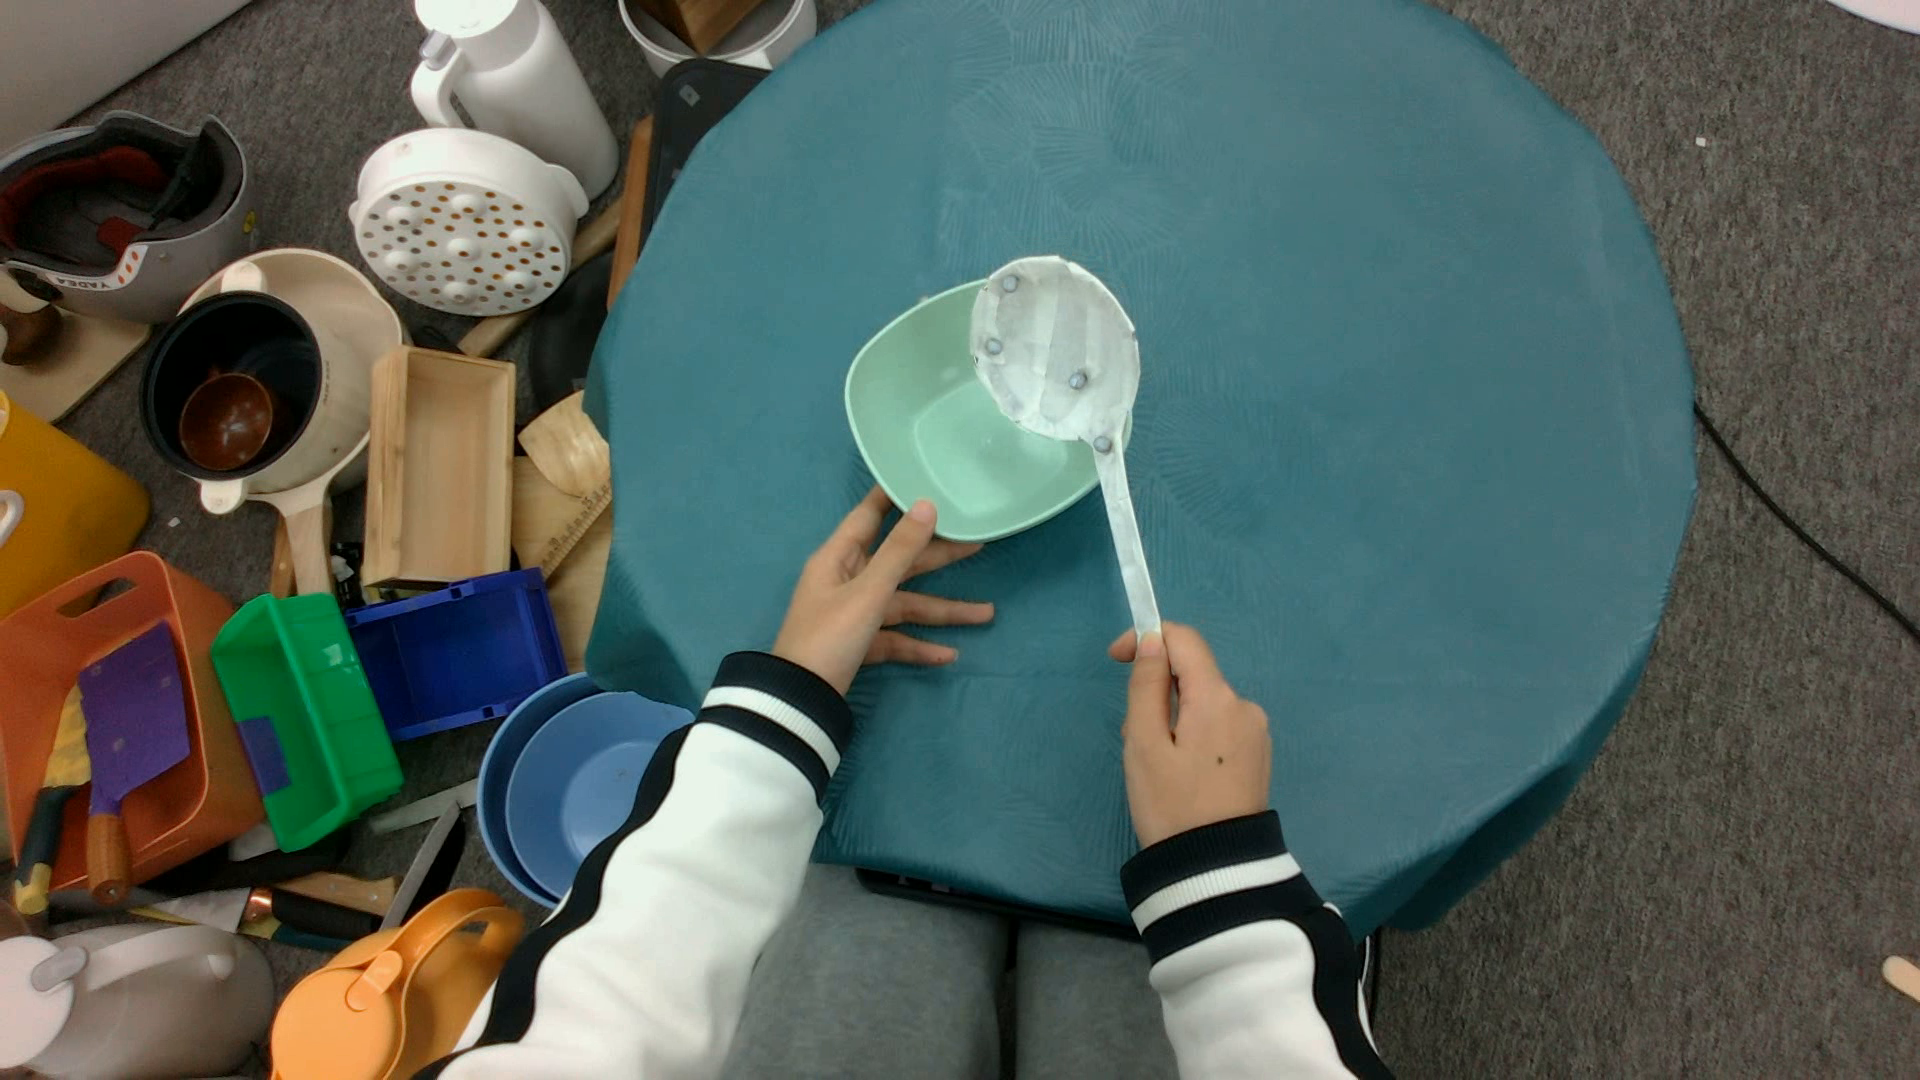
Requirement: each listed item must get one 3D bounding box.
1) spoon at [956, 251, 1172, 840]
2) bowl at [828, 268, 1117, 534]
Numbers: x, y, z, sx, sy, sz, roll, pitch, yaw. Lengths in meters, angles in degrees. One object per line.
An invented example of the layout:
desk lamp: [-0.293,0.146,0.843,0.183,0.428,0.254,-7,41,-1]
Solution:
spoon: [0.048,0.002,0.641,0.059,0.100,0.278,4,71,-39]
bowl: [0.007,-0.066,0.734,0.151,0.058,0.152,-1,71,3]
